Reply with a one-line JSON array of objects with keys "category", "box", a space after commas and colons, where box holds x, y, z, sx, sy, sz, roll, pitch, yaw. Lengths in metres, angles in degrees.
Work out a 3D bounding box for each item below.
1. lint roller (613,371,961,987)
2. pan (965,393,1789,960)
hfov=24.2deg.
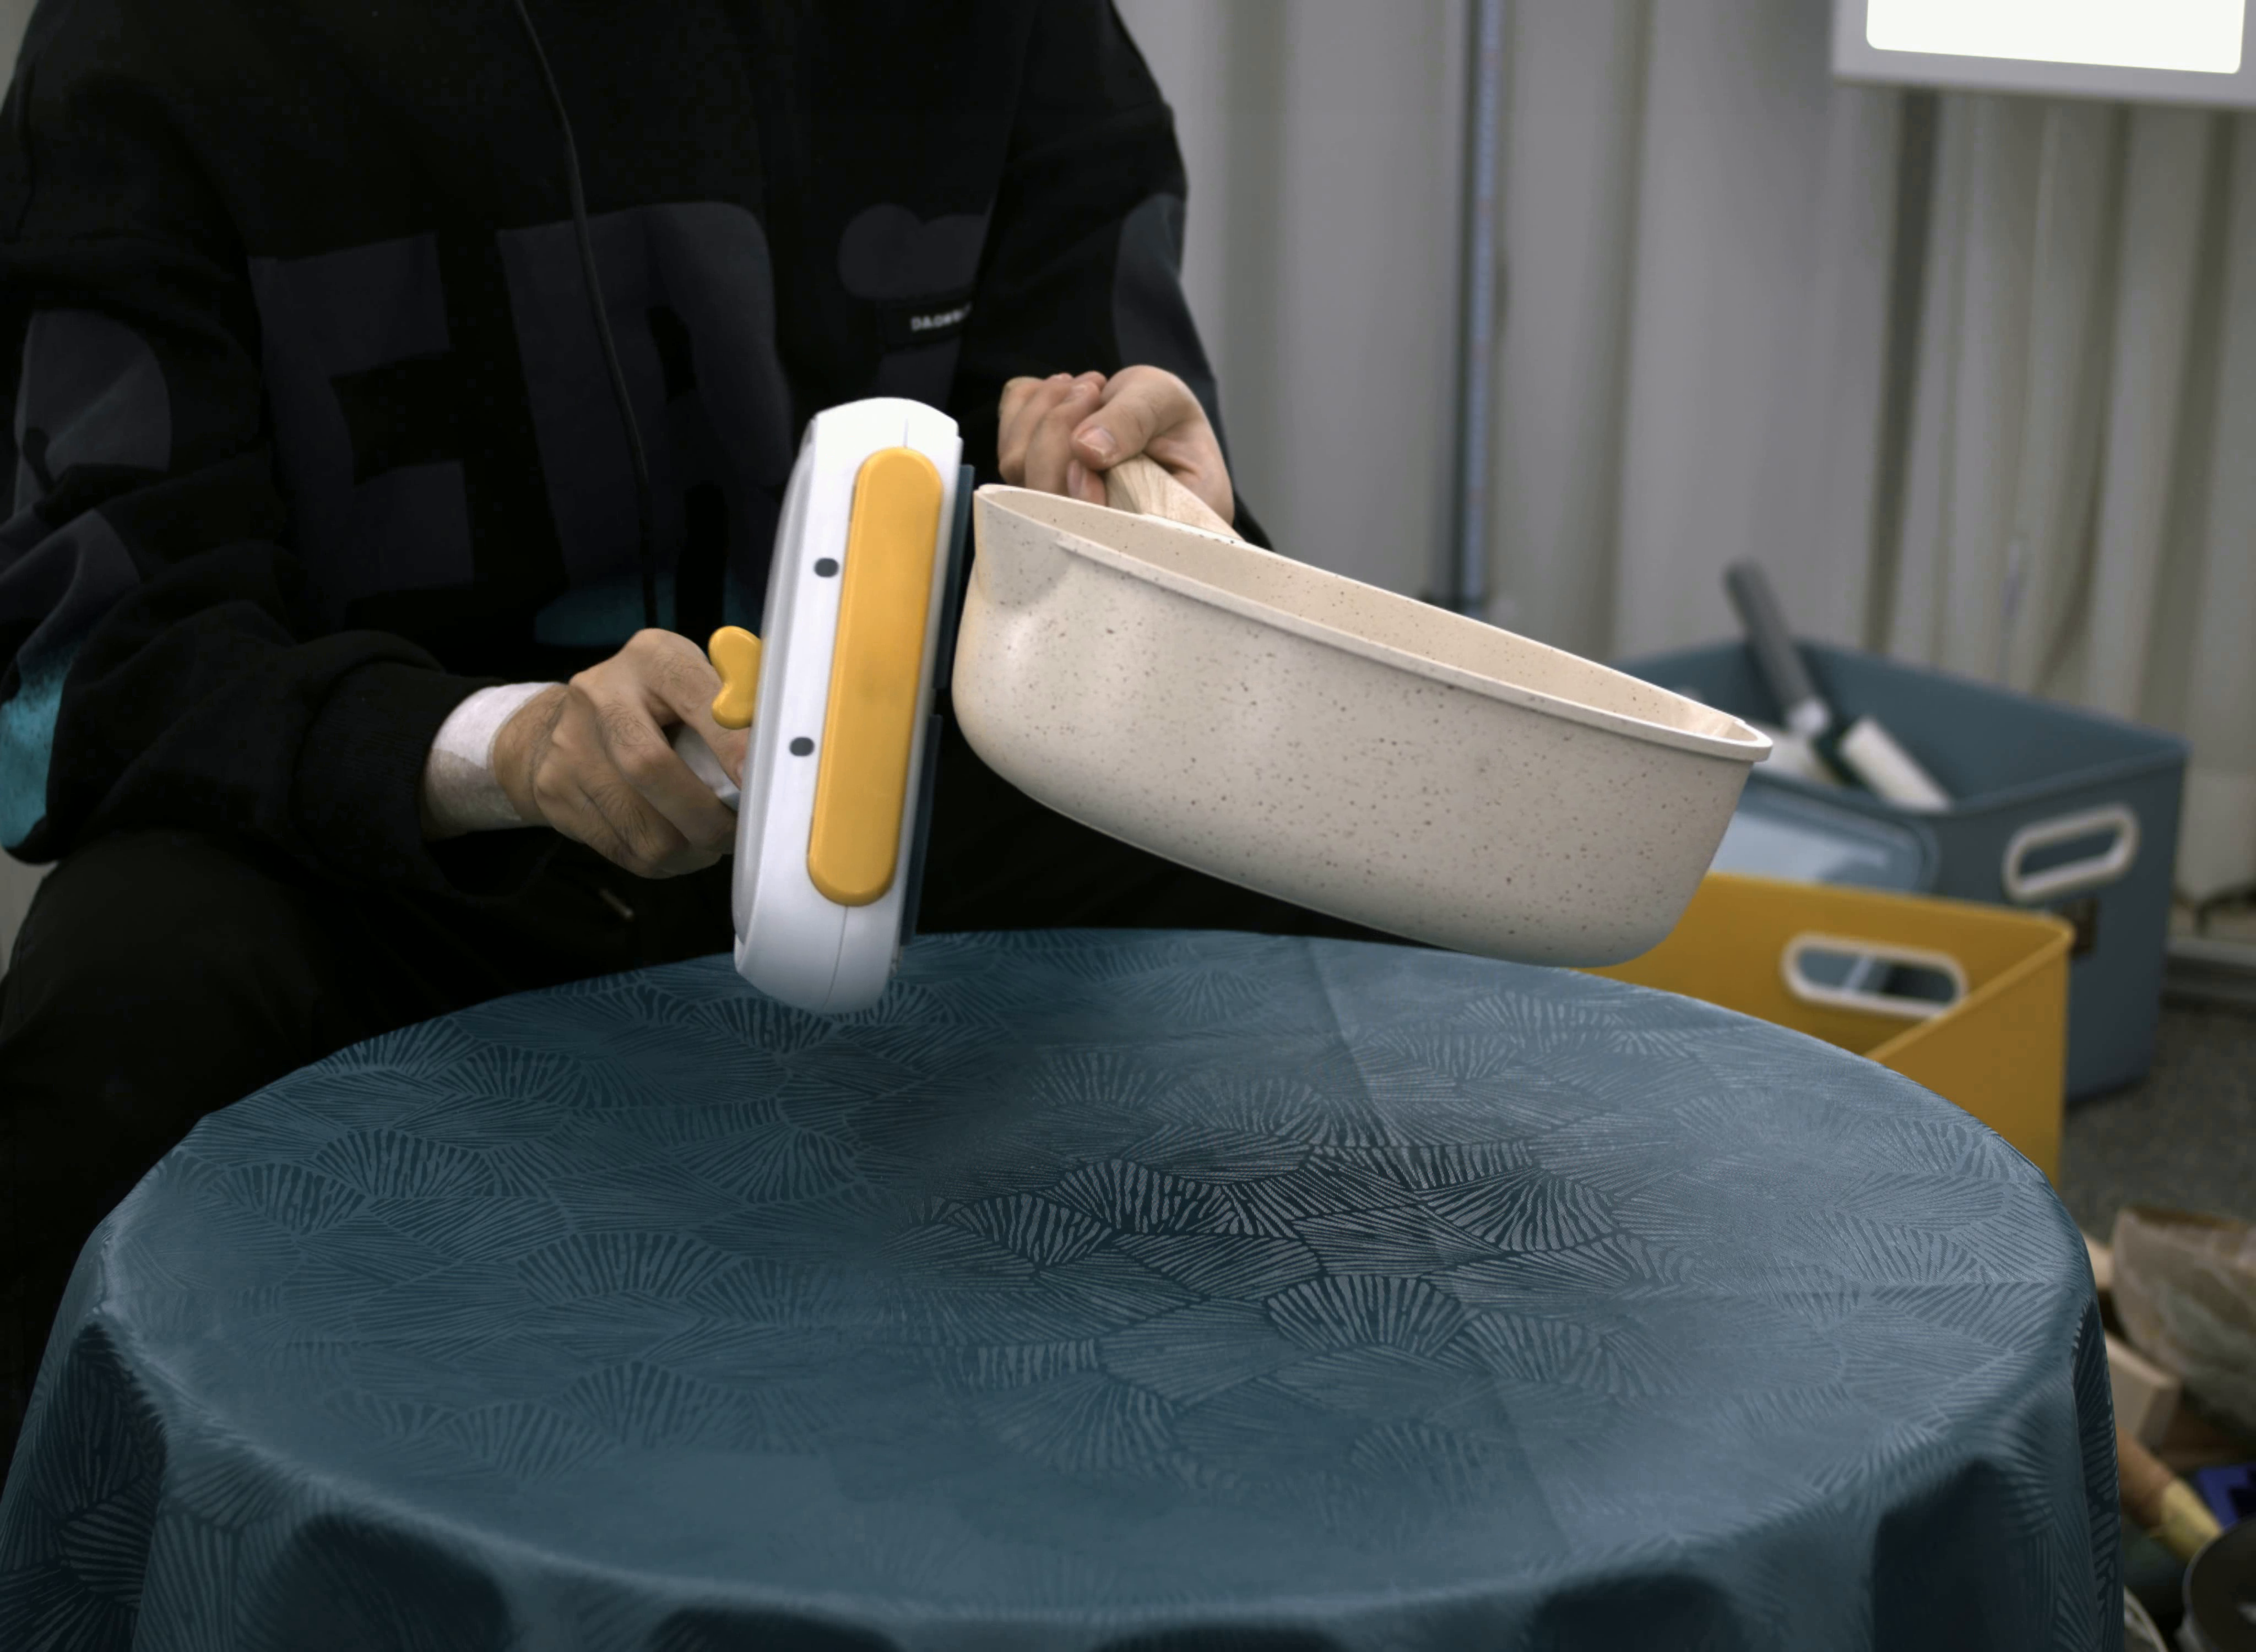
[{"category": "lint roller", "box": [-0.111, -0.029, 1.658, 0.074, 0.192, 0.192, 7, -19, -19]}, {"category": "pan", "box": [0.034, -0.054, 1.662, 0.265, 0.102, 0.430, 12, 8, -25]}]
